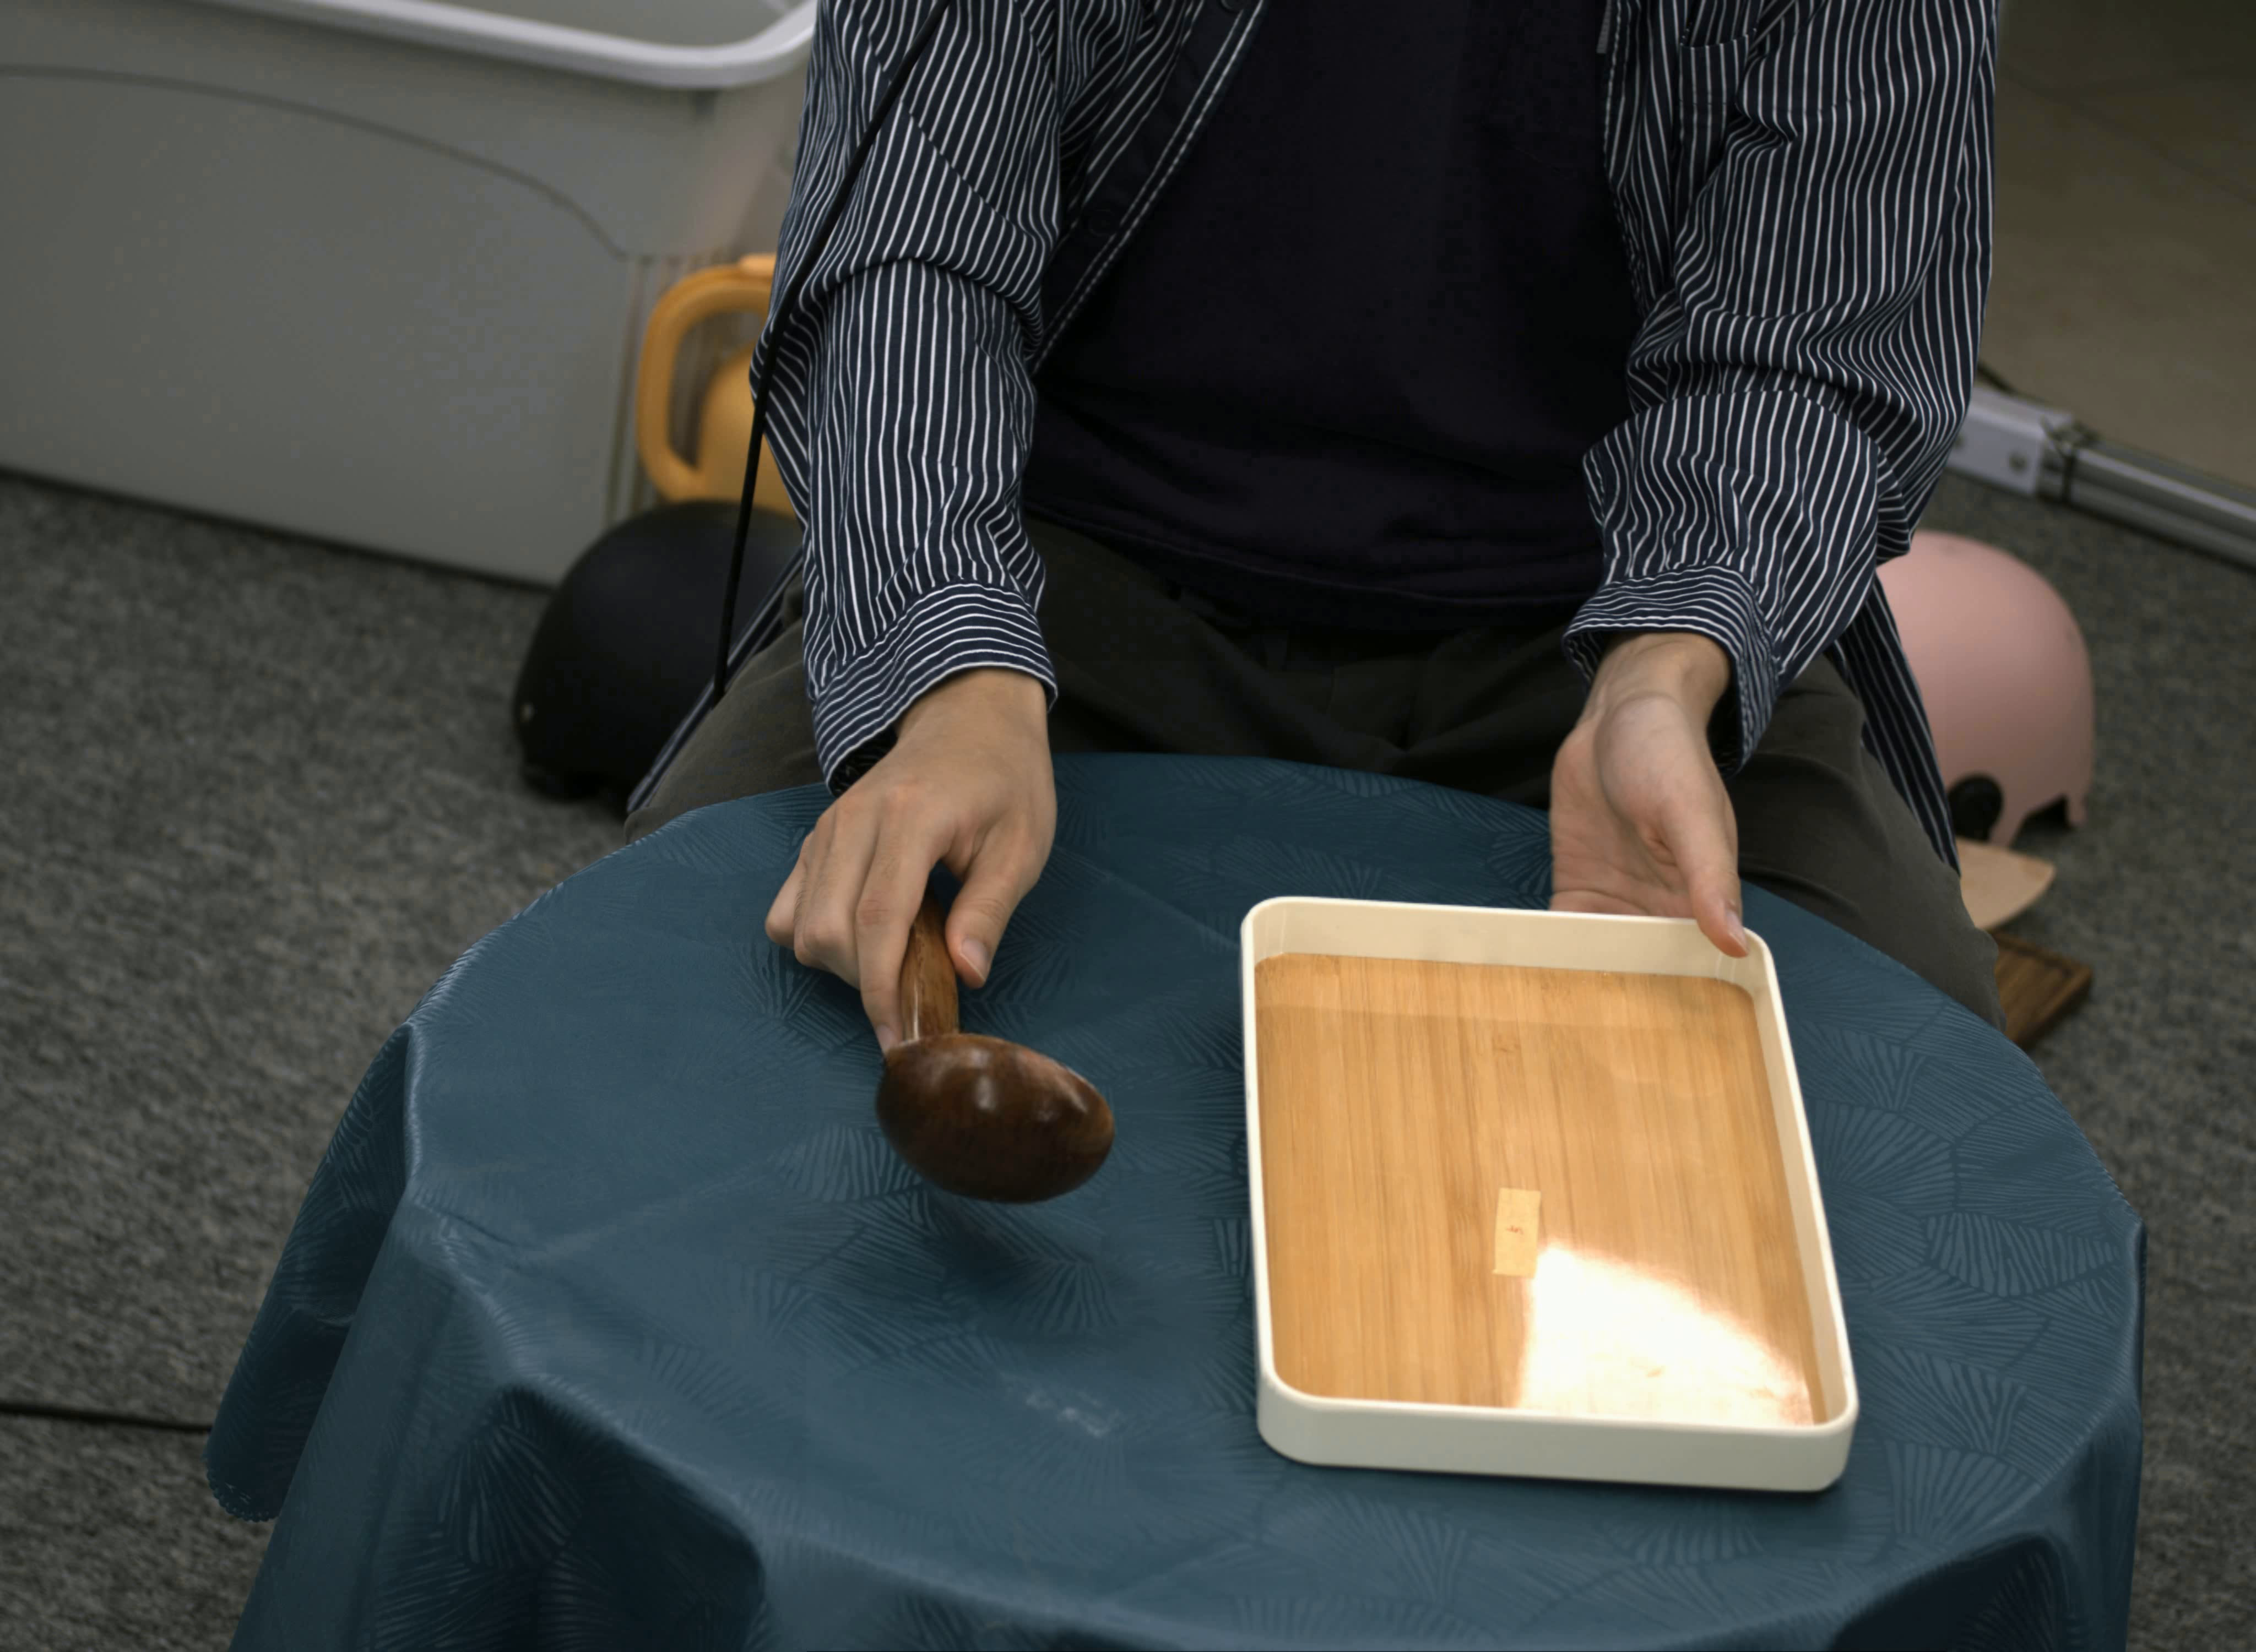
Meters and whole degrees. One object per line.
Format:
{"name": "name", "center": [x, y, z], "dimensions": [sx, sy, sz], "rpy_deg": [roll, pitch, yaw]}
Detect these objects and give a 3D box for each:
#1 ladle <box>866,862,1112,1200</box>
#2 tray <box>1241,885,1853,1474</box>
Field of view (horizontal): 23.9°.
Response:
{"name": "ladle", "center": [-0.054, 0.050, 1.822], "dimensions": [0.081, 0.076, 0.276], "rpy_deg": [33, 18, -16]}
{"name": "tray", "center": [0.134, 0.113, 1.792], "dimensions": [0.191, 0.027, 0.302], "rpy_deg": [4, 30, -1]}
